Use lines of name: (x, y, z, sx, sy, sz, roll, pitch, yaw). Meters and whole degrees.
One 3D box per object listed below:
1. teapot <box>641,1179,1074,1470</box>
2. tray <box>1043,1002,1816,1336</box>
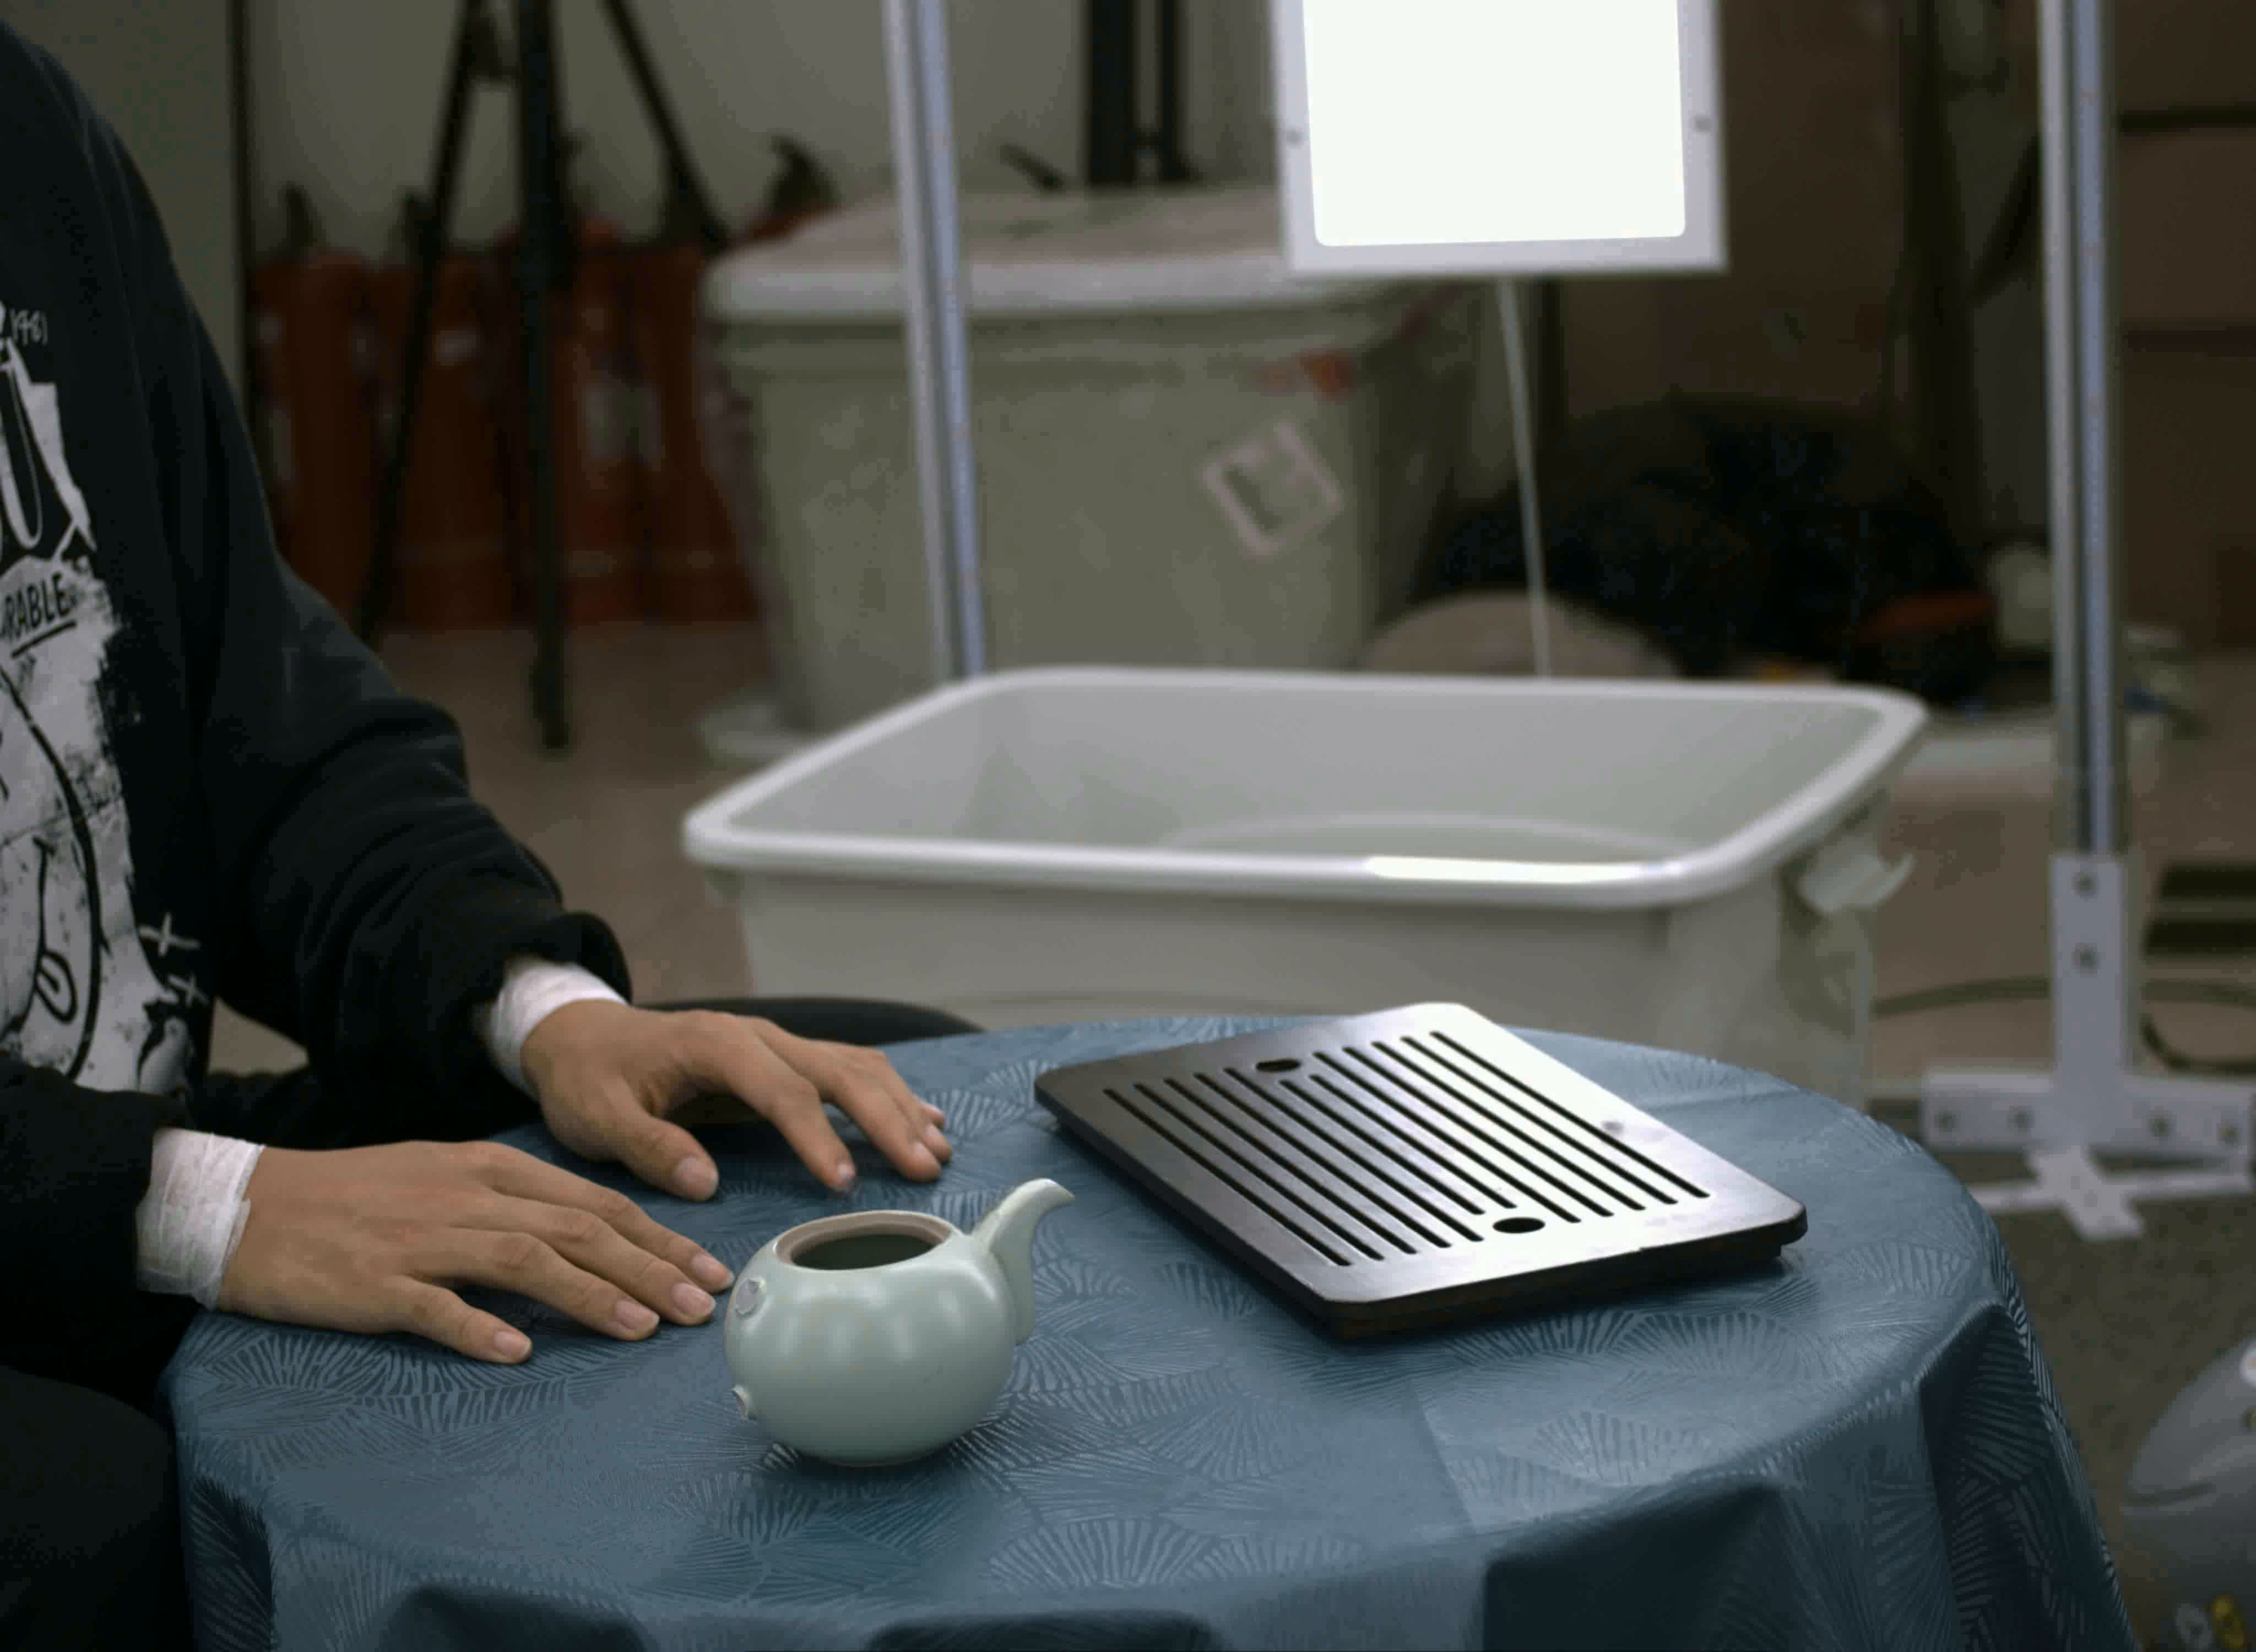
teapot: (-0.079, 0.153, 1.667, 0.141, 0.075, 0.090, -9, 14, -23)
tray: (0.096, 0.114, 1.878, 0.167, 0.019, 0.309, -10, 14, -17)
